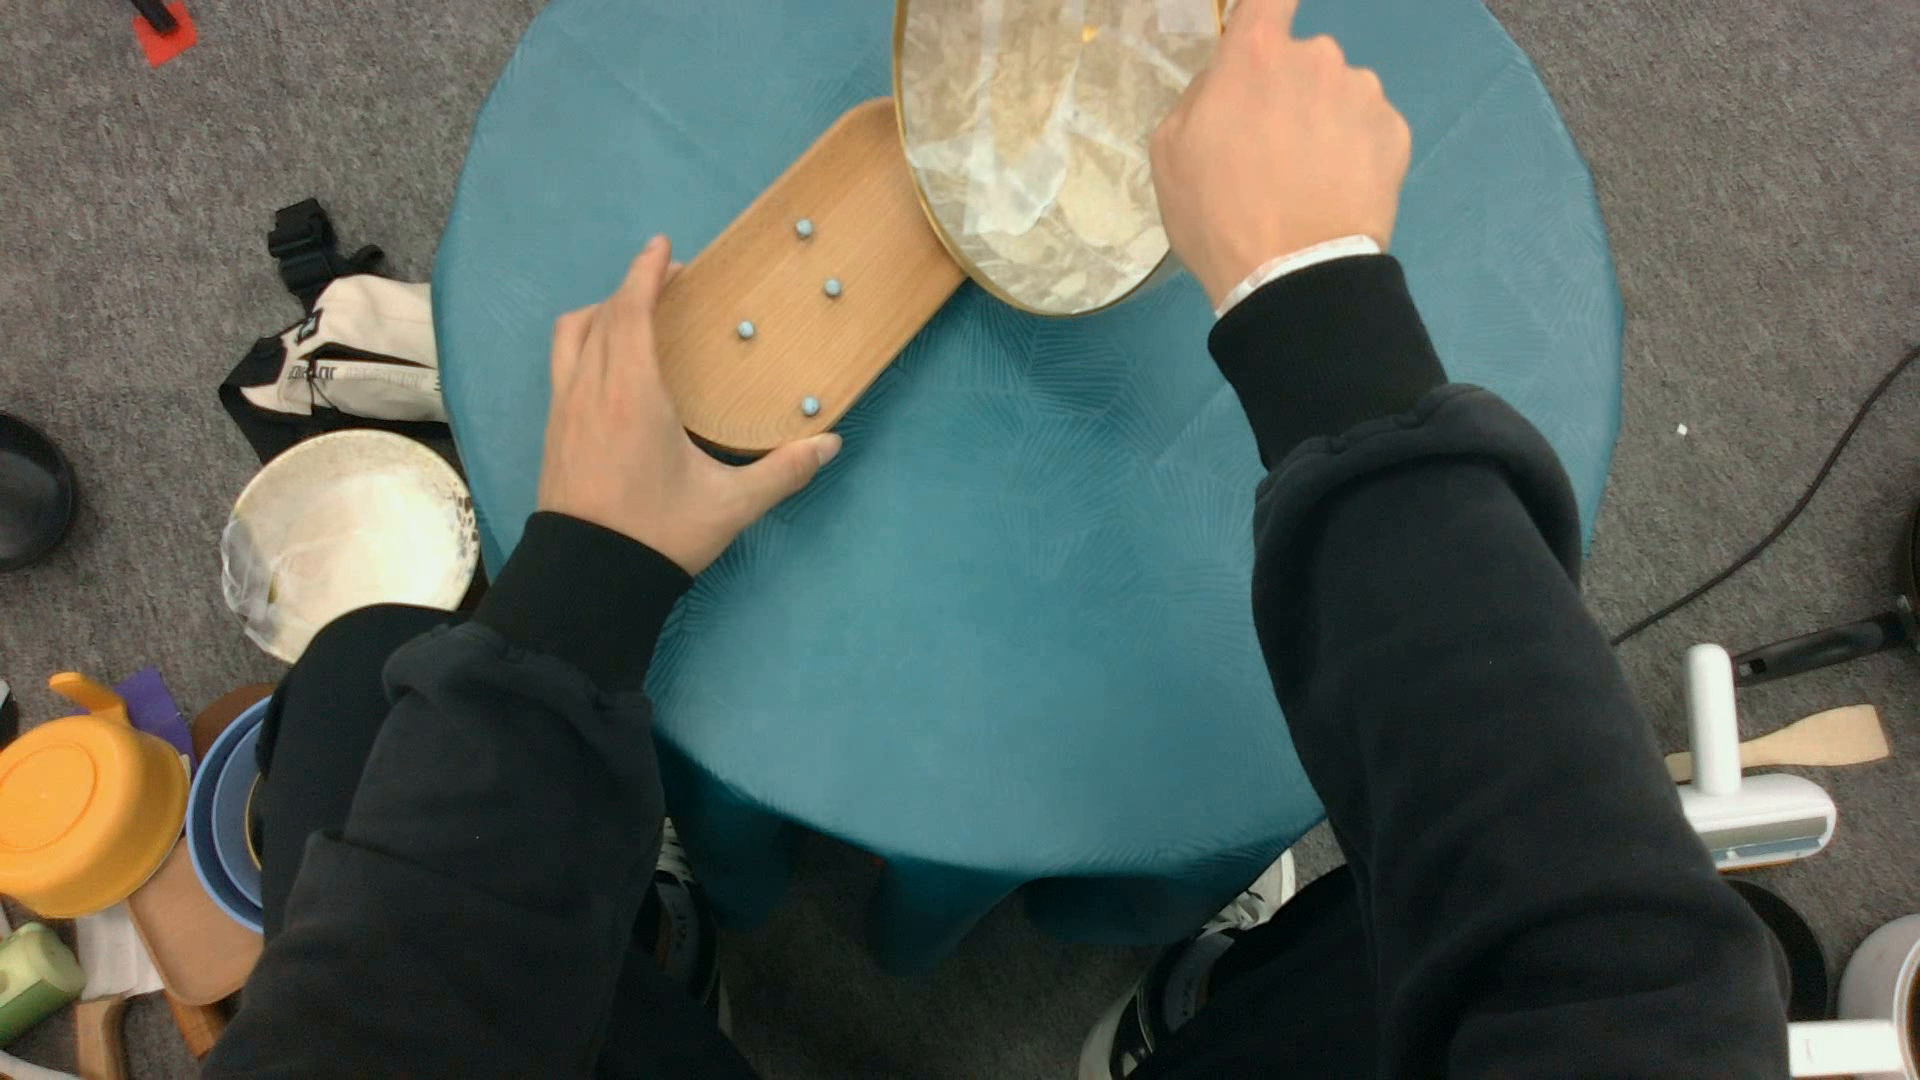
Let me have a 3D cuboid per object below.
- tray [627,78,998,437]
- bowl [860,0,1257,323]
[{"bbox_3d":[-0.067,-0.141,0.666,0.101,0.020,0.232,36,63,1],"label":"tray"},{"bbox_3d":[0.057,-0.211,0.625,0.095,0.213,0.215,-22,75,-39],"label":"bowl"}]
